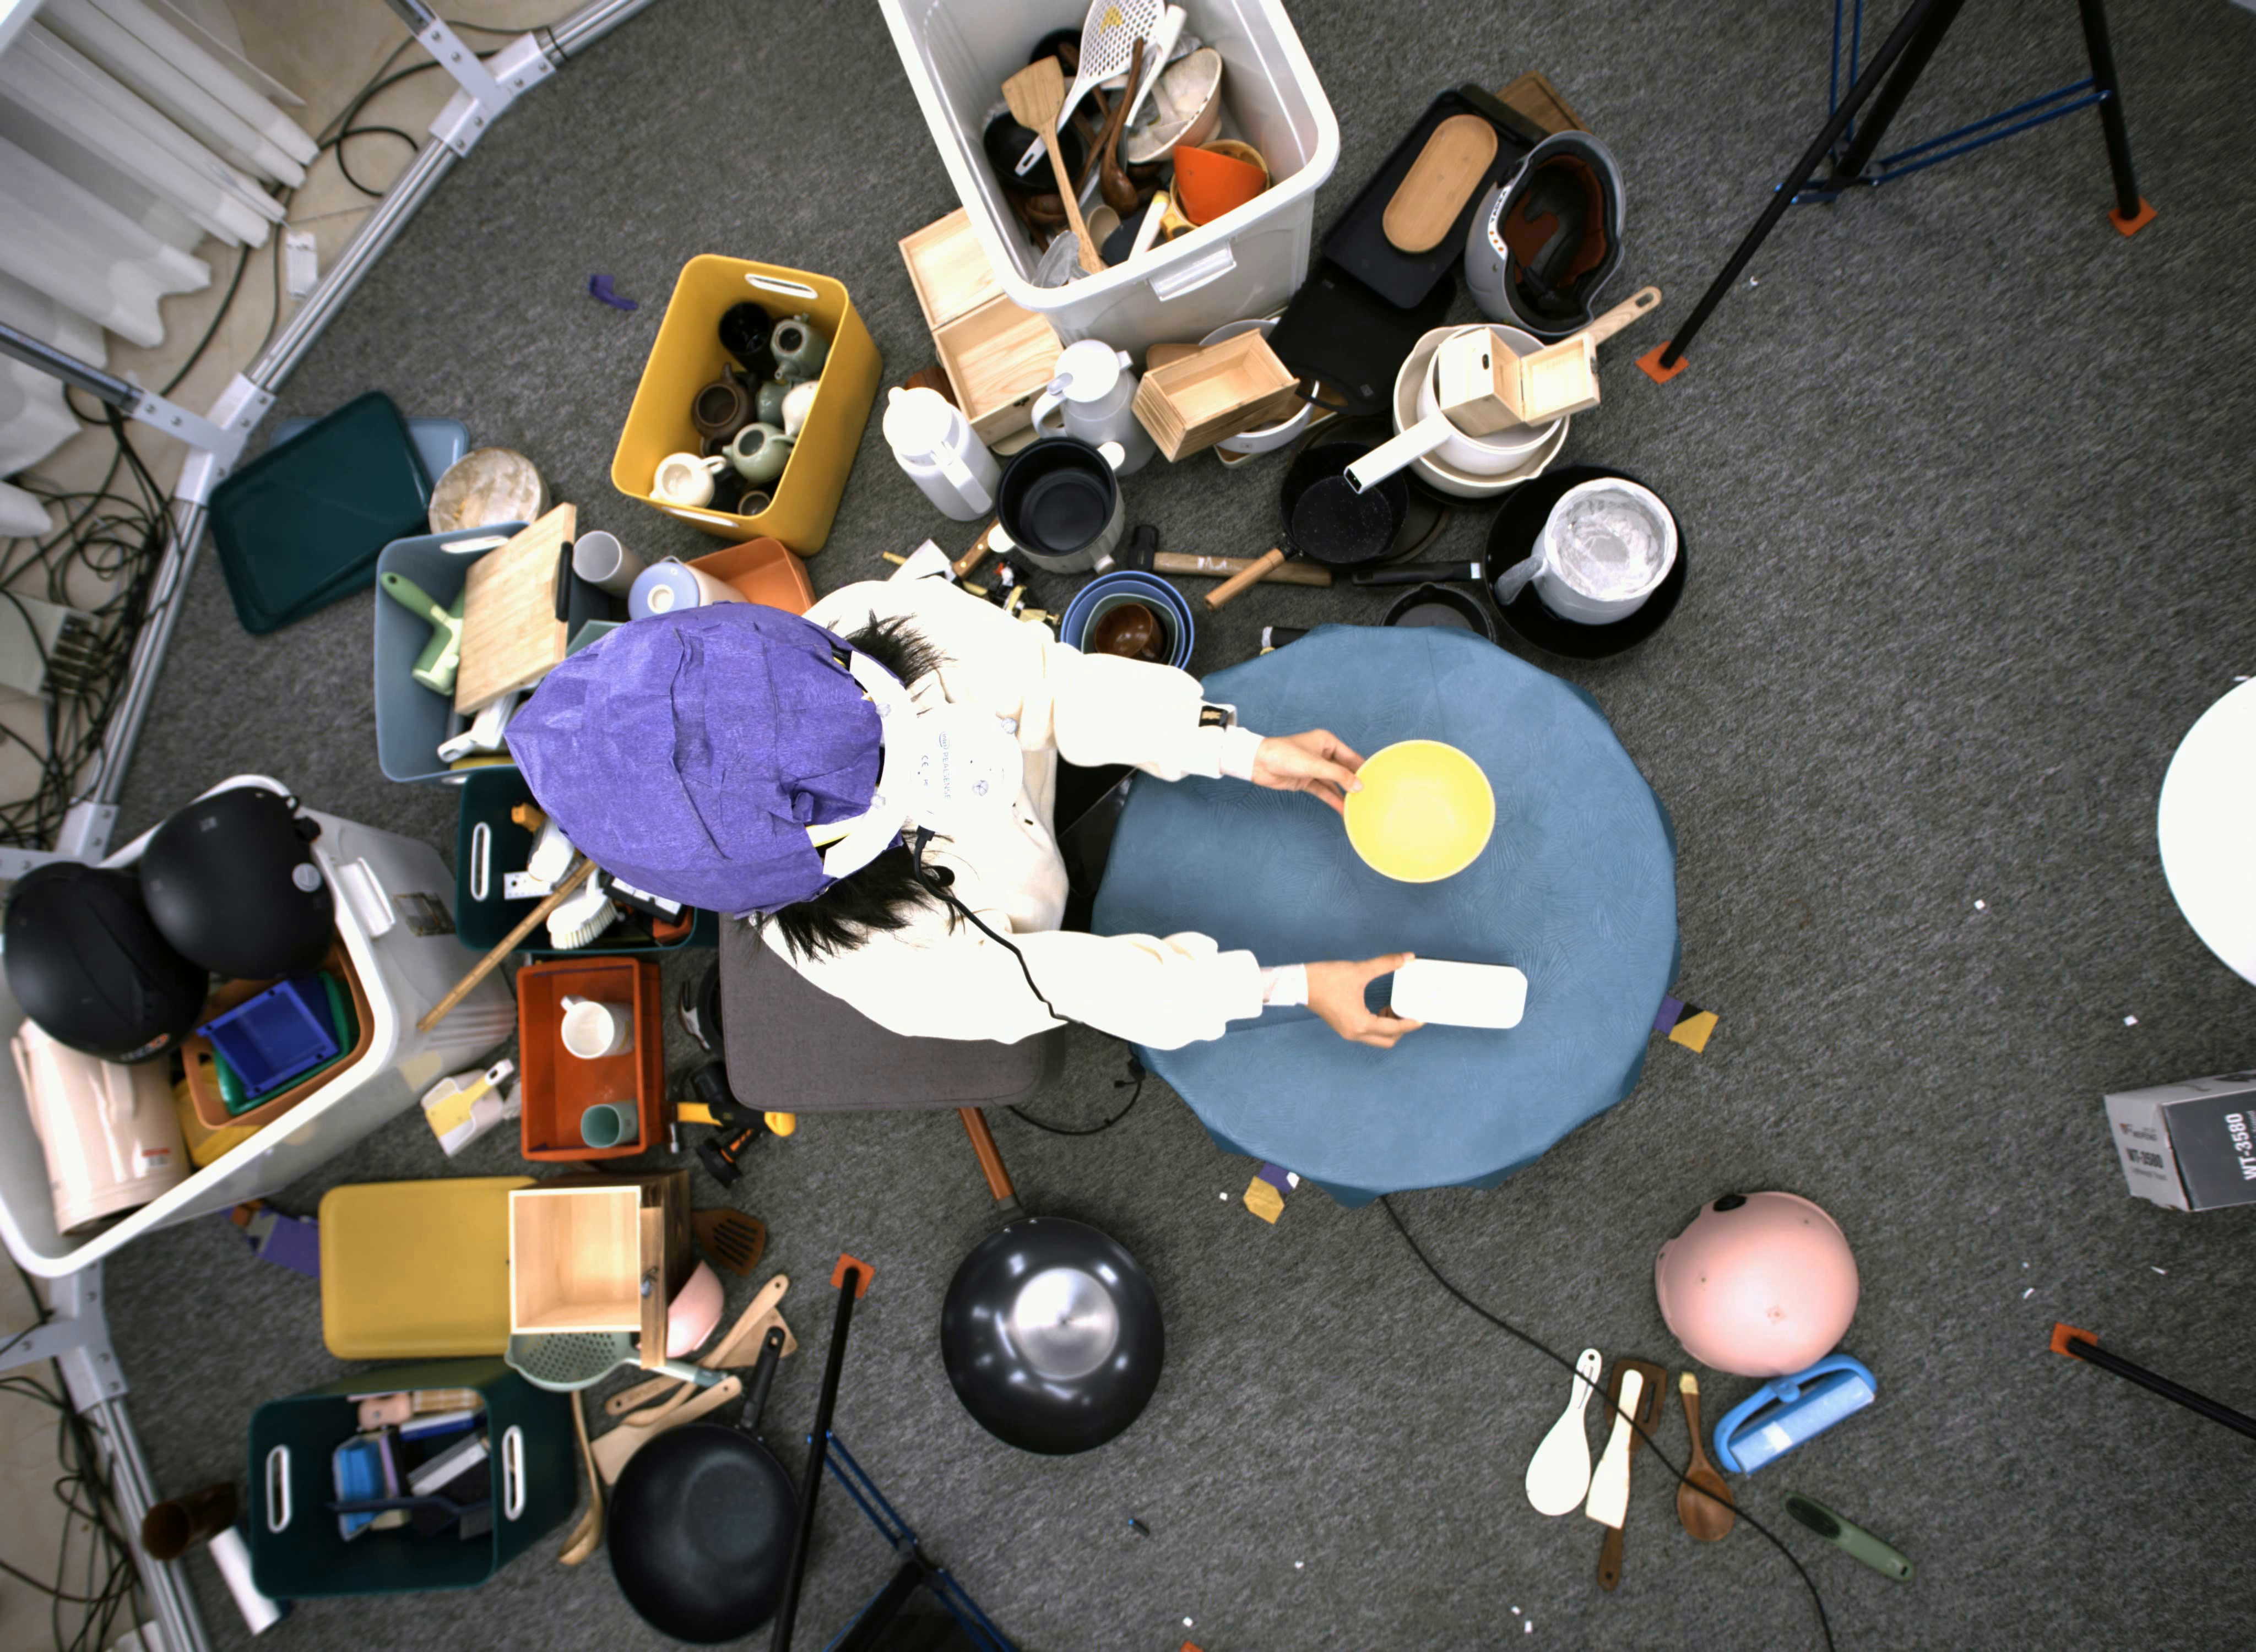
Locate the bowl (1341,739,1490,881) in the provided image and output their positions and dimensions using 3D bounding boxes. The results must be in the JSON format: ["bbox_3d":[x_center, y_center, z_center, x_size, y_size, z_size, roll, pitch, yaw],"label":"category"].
[{"bbox_3d":[0.286,-0.011,1.366,0.146,0.060,0.143,-4,76,15],"label":"bowl"}]

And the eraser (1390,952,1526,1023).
[{"bbox_3d":[0.330,0.159,1.382,0.131,0.034,0.064,5,112,6],"label":"eraser"}]
